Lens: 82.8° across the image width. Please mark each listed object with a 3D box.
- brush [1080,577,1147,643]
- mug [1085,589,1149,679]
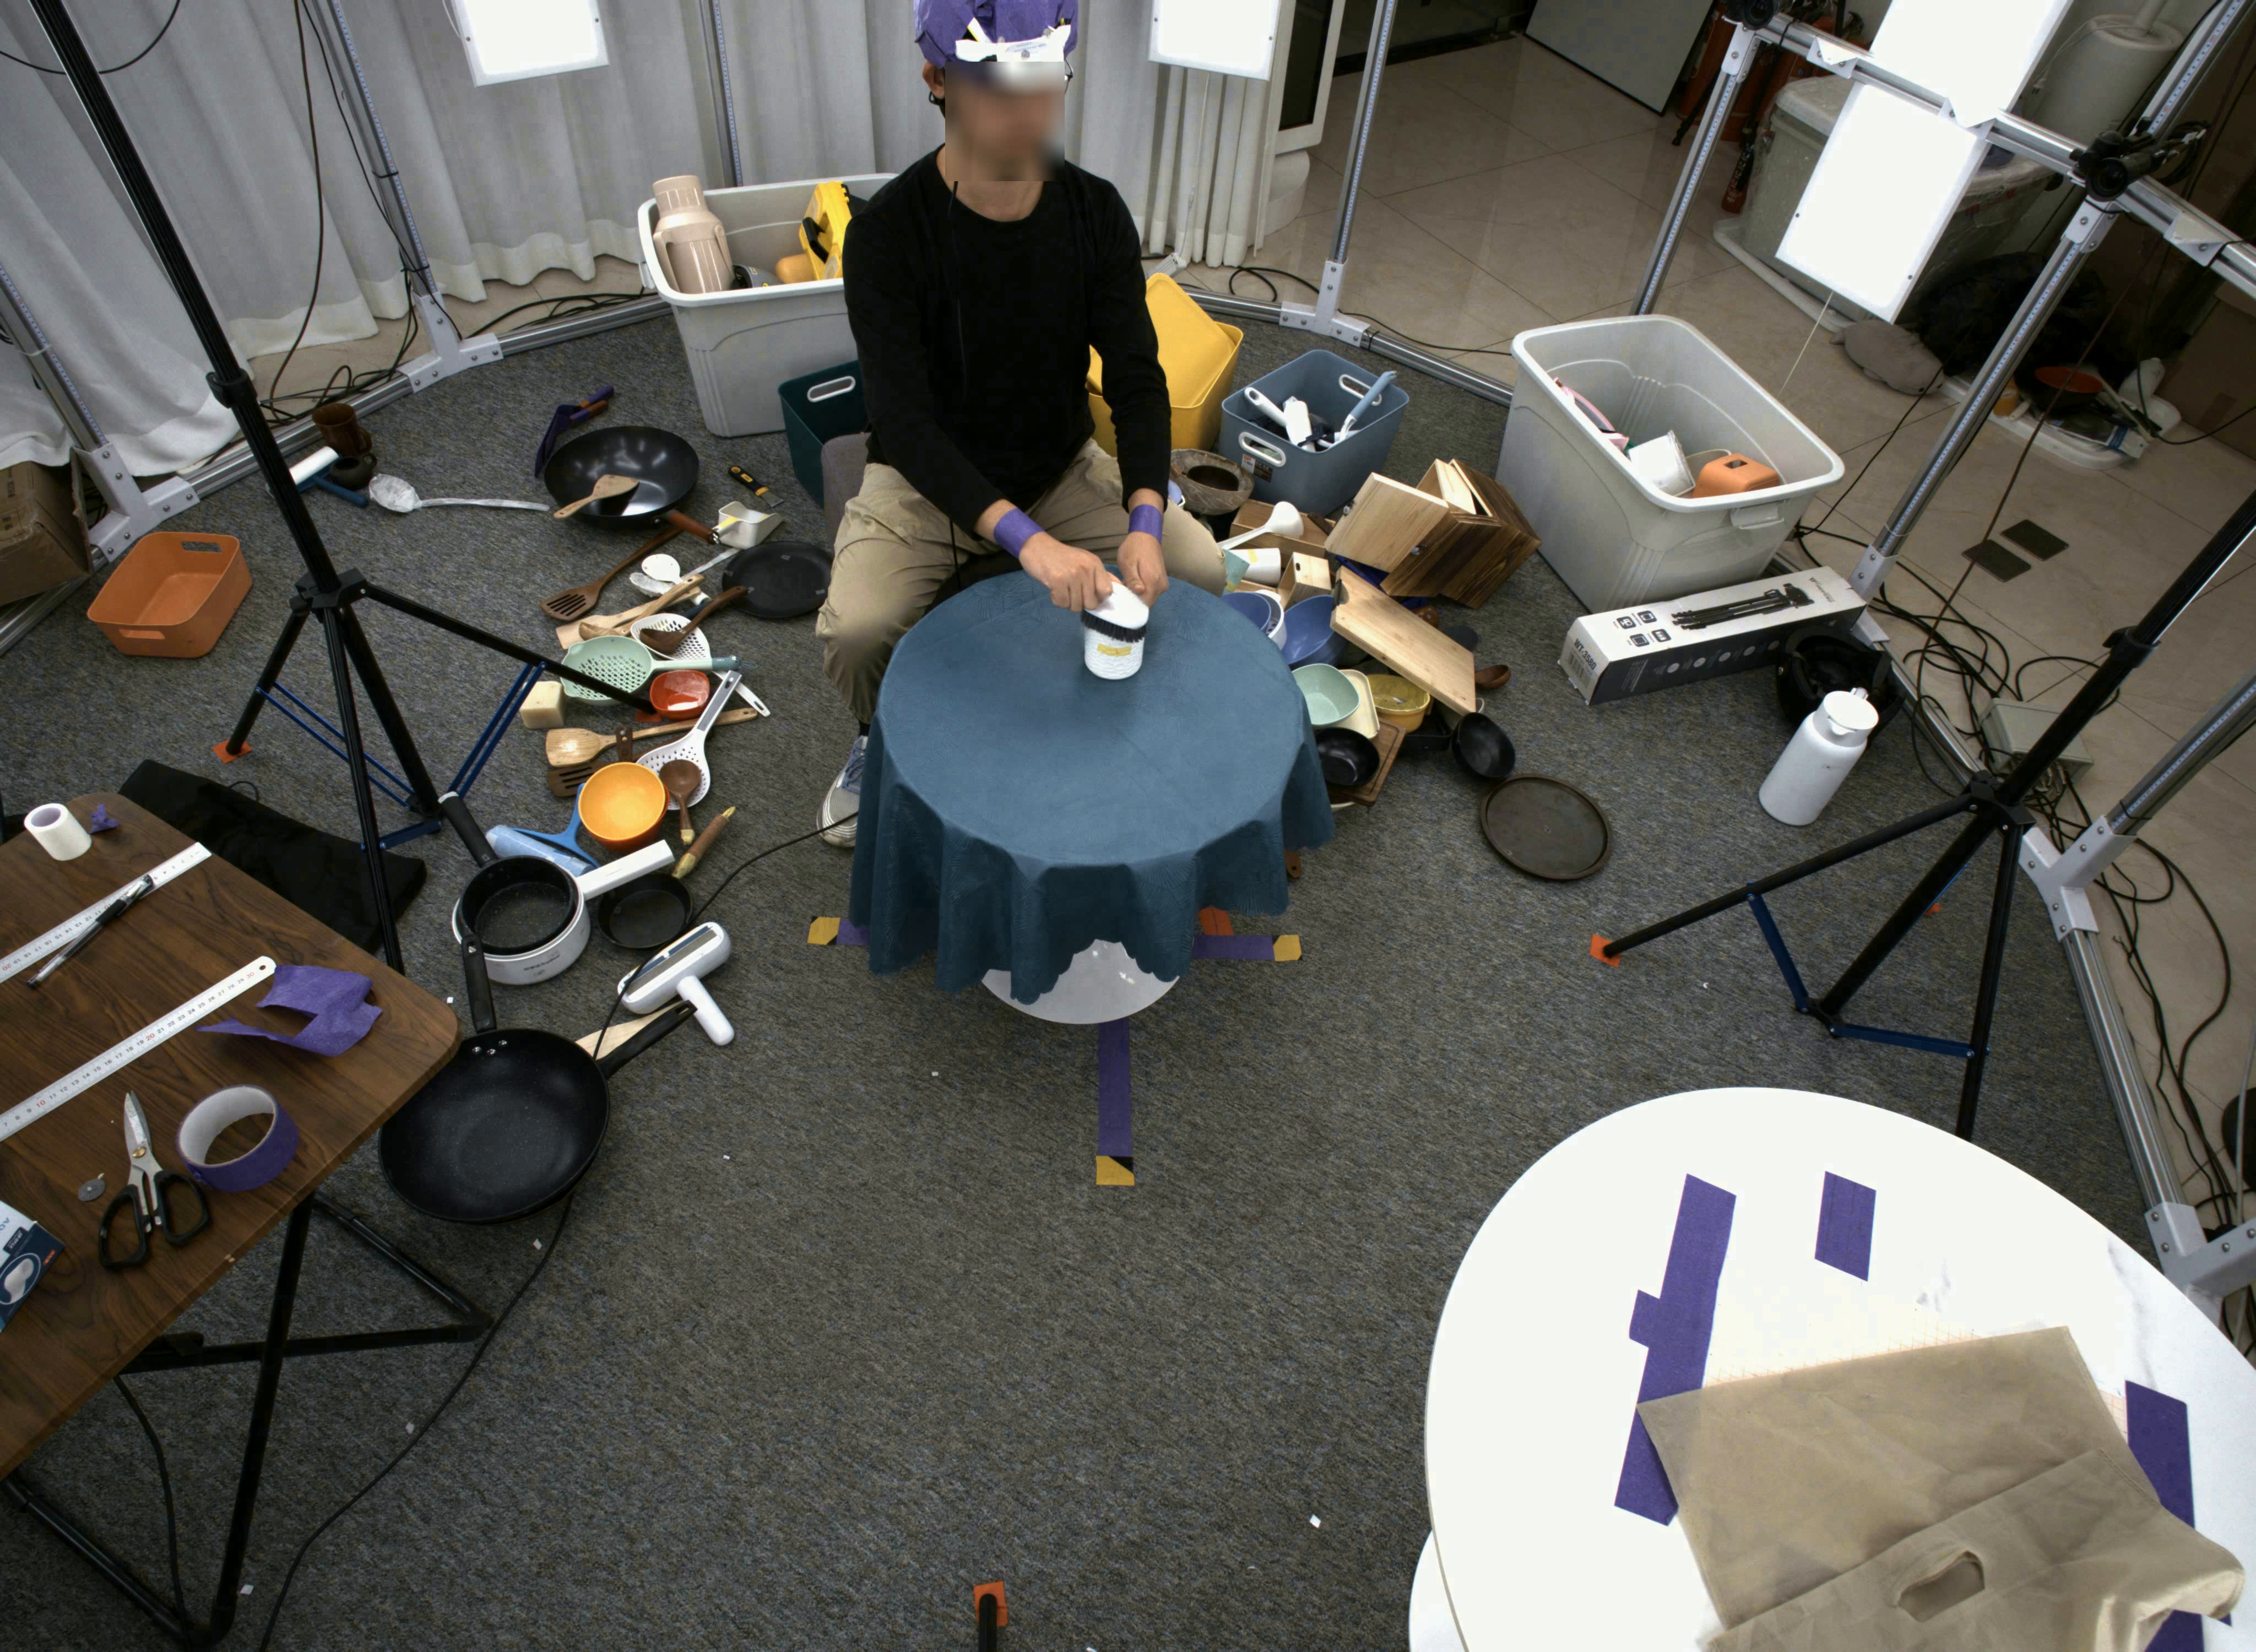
[{"bbox_3d":[-0.020,-0.302,1.754,0.100,0.071,0.051,28,56,18],"label":"brush"},{"bbox_3d":[-0.011,-0.284,1.847,0.085,0.099,0.120,20,50,11],"label":"mug"}]
